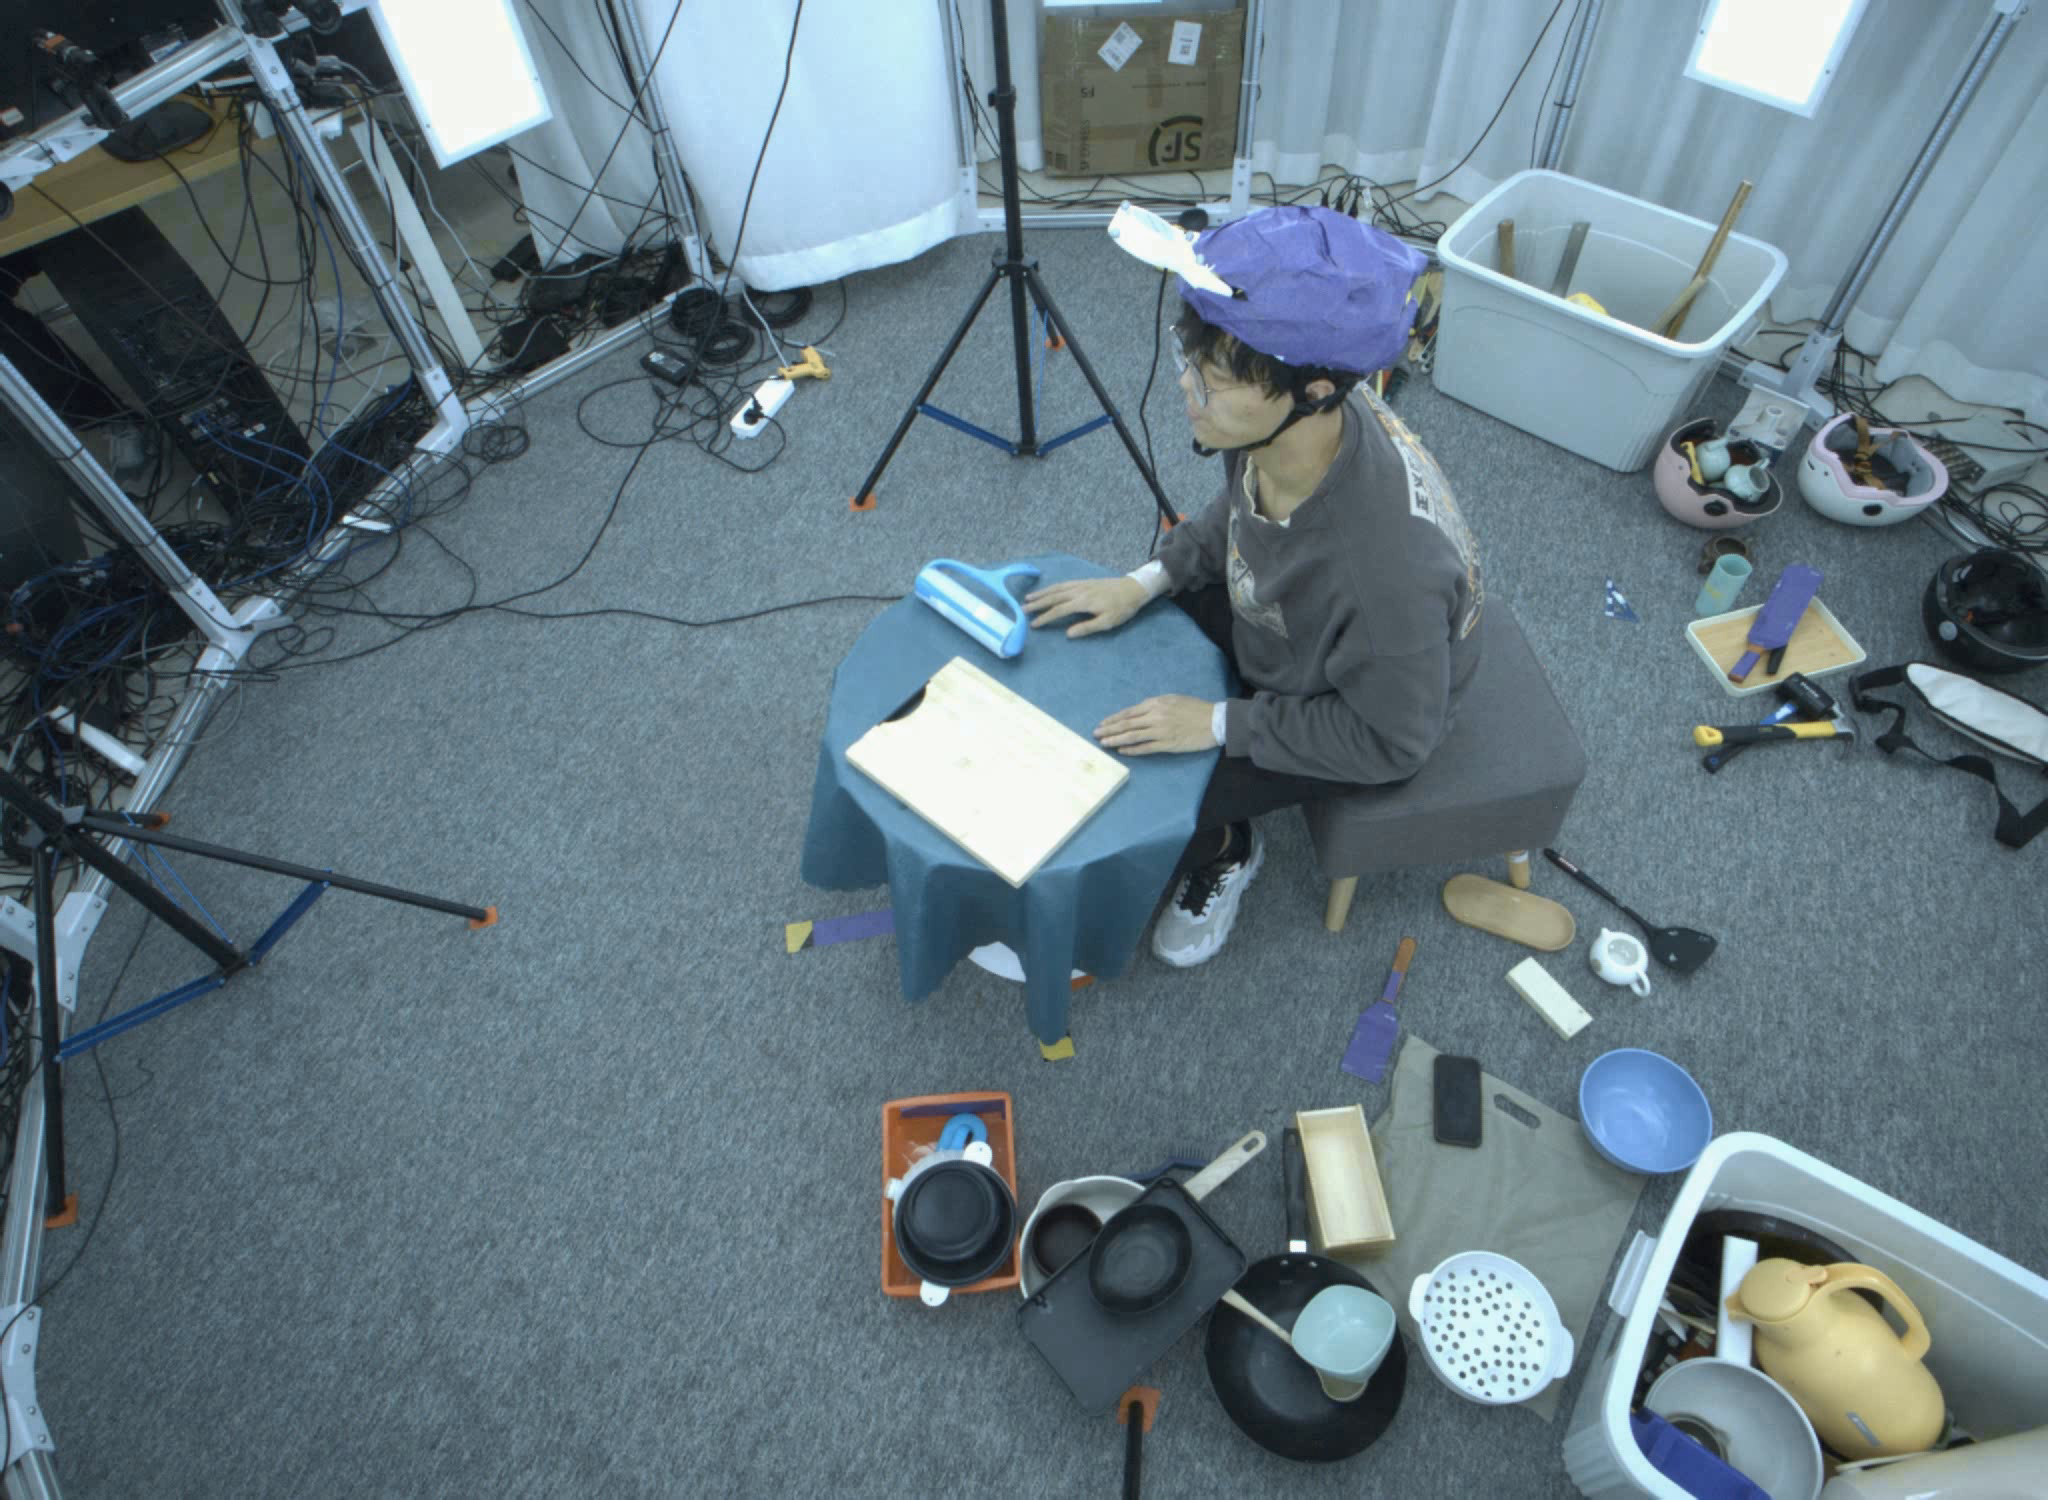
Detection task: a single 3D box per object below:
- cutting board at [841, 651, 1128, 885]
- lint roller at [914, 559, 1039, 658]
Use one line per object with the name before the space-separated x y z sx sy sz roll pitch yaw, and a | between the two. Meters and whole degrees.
cutting board | -0.059 0.017 1.765 0.342 0.024 0.252 34 62 23
lint roller | -0.048 -0.252 1.932 0.225 0.069 0.181 35 64 25
